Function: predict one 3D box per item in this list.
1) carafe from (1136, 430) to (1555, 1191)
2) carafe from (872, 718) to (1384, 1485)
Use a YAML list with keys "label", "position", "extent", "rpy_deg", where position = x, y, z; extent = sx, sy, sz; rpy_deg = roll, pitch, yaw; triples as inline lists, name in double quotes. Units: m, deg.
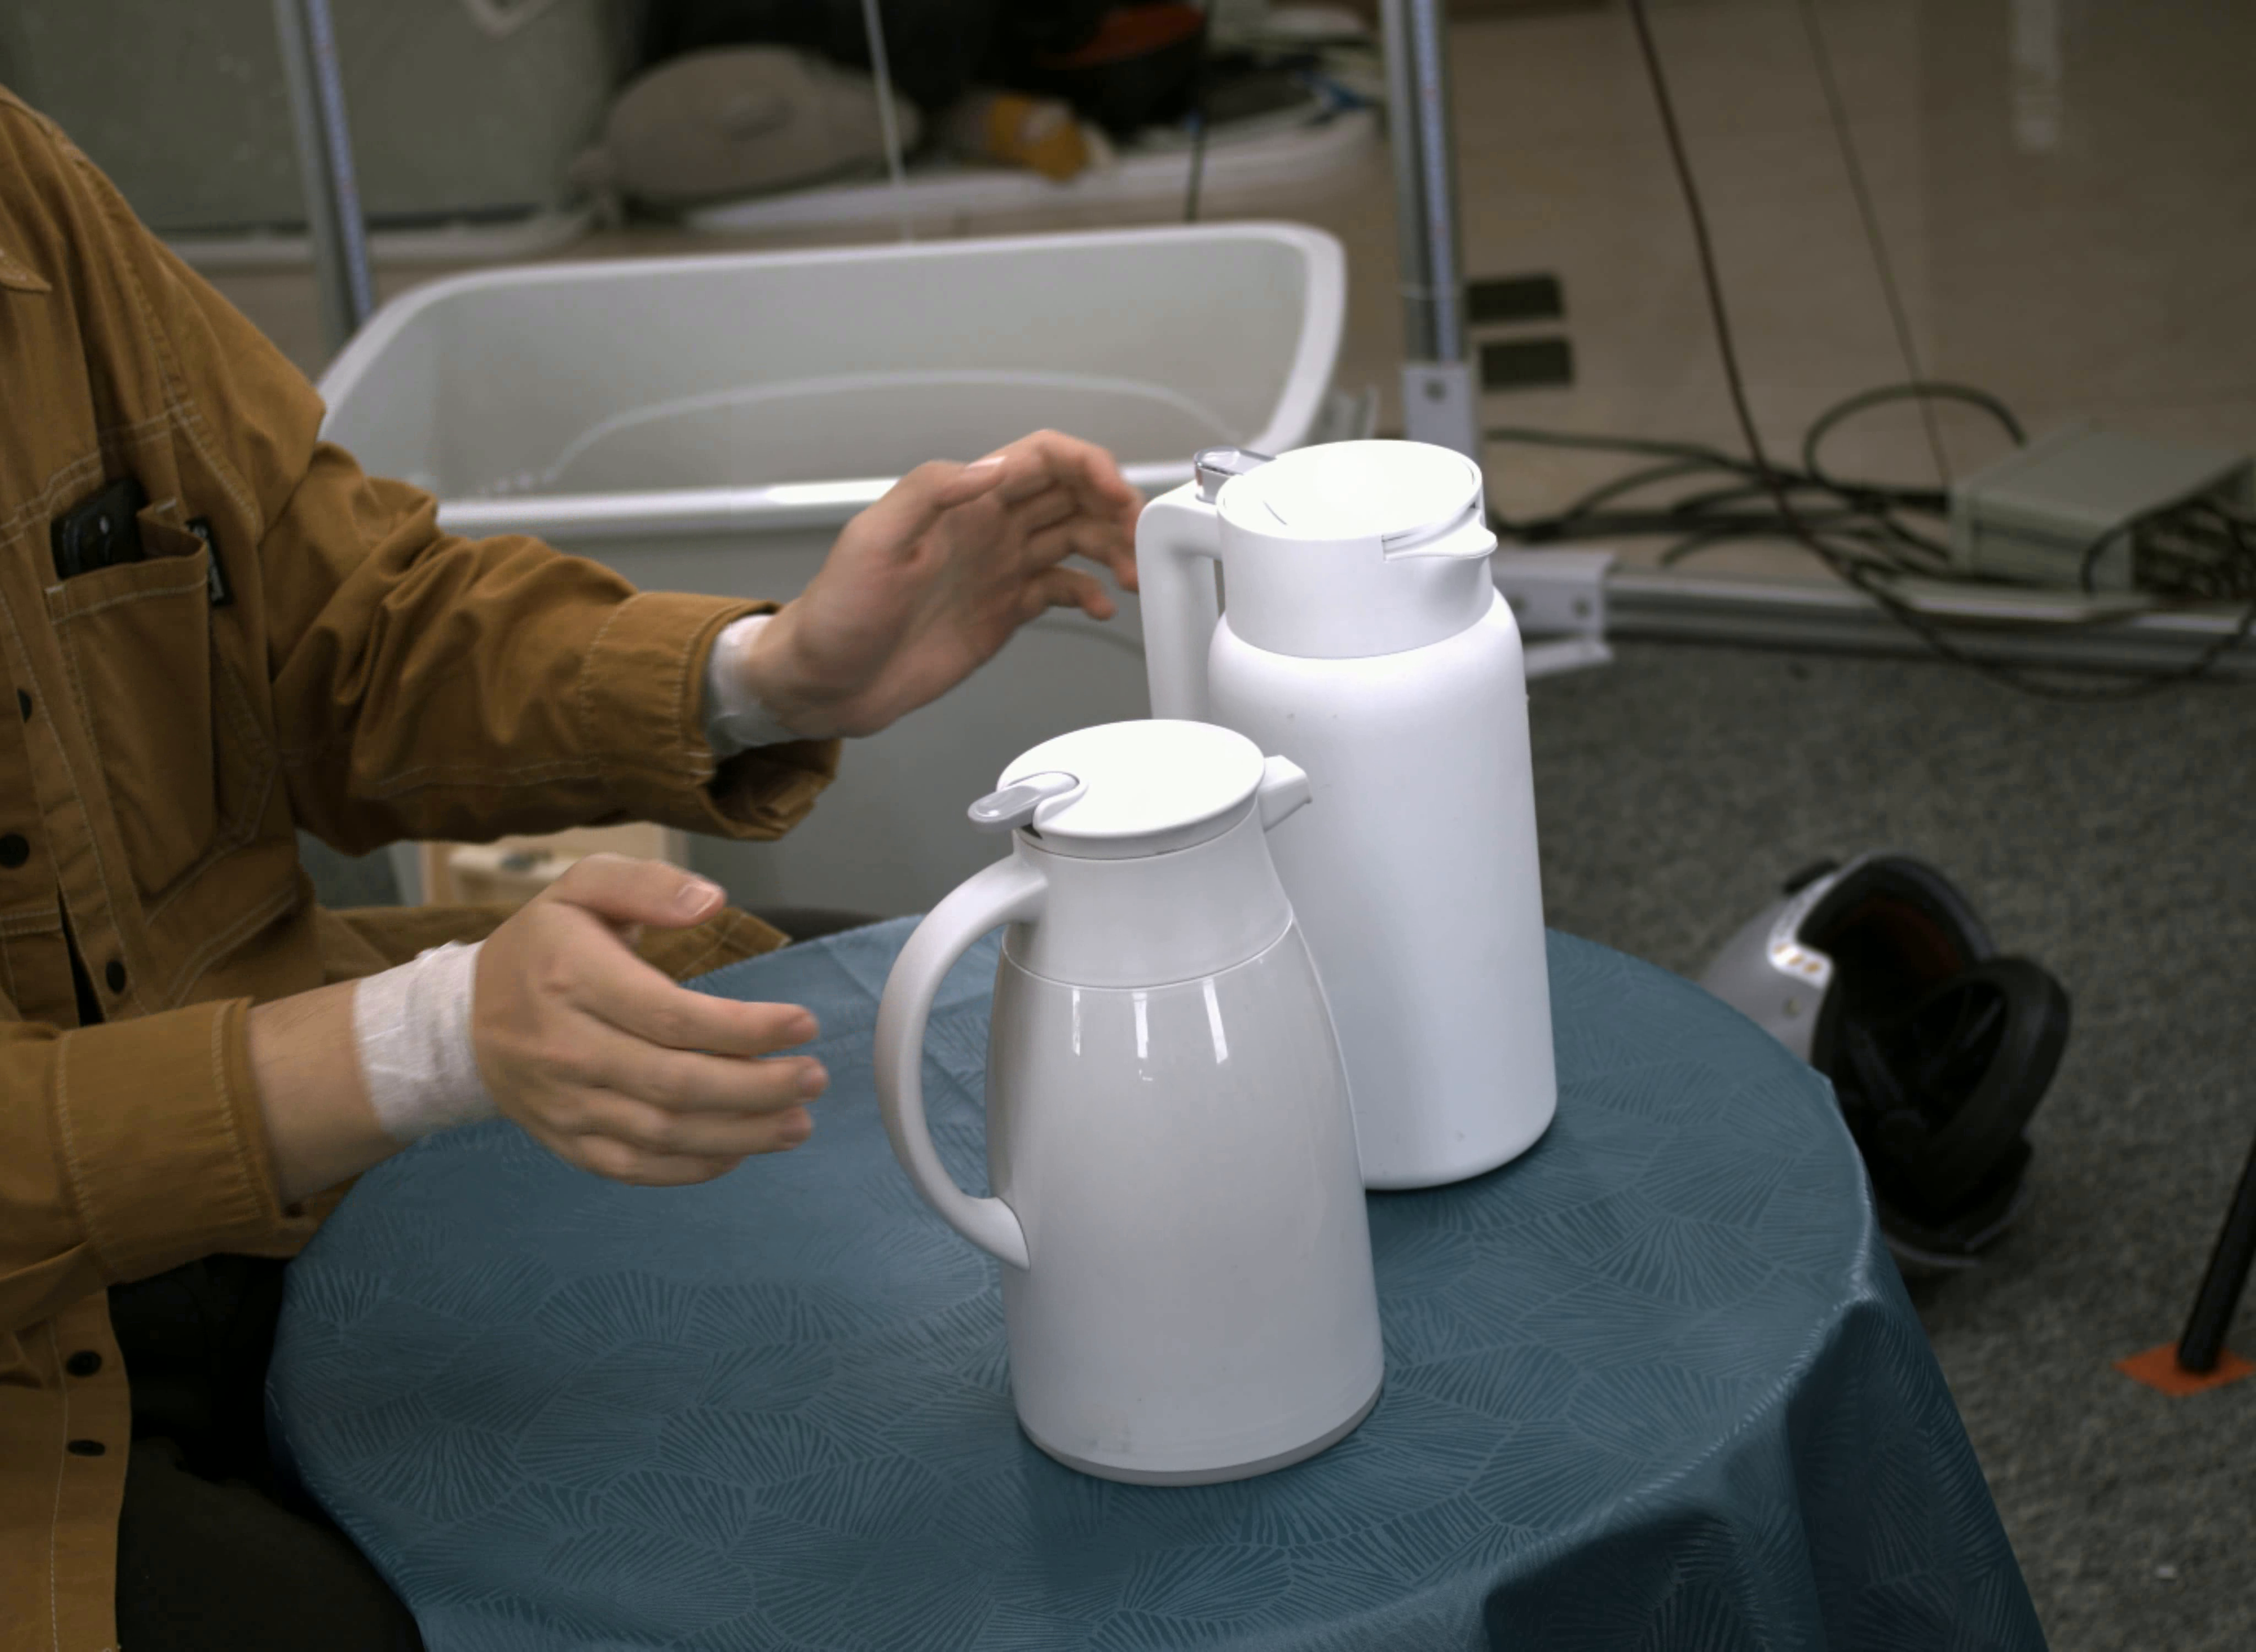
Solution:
- label: "carafe"
  position: [0.080, -0.008, 2.124]
  extent: [0.171, 0.273, 0.122]
  rpy_deg: [18, 37, 41]
- label: "carafe"
  position: [-0.004, 0.094, 1.950]
  extent: [0.167, 0.252, 0.131]
  rpy_deg: [-18, 28, -21]
